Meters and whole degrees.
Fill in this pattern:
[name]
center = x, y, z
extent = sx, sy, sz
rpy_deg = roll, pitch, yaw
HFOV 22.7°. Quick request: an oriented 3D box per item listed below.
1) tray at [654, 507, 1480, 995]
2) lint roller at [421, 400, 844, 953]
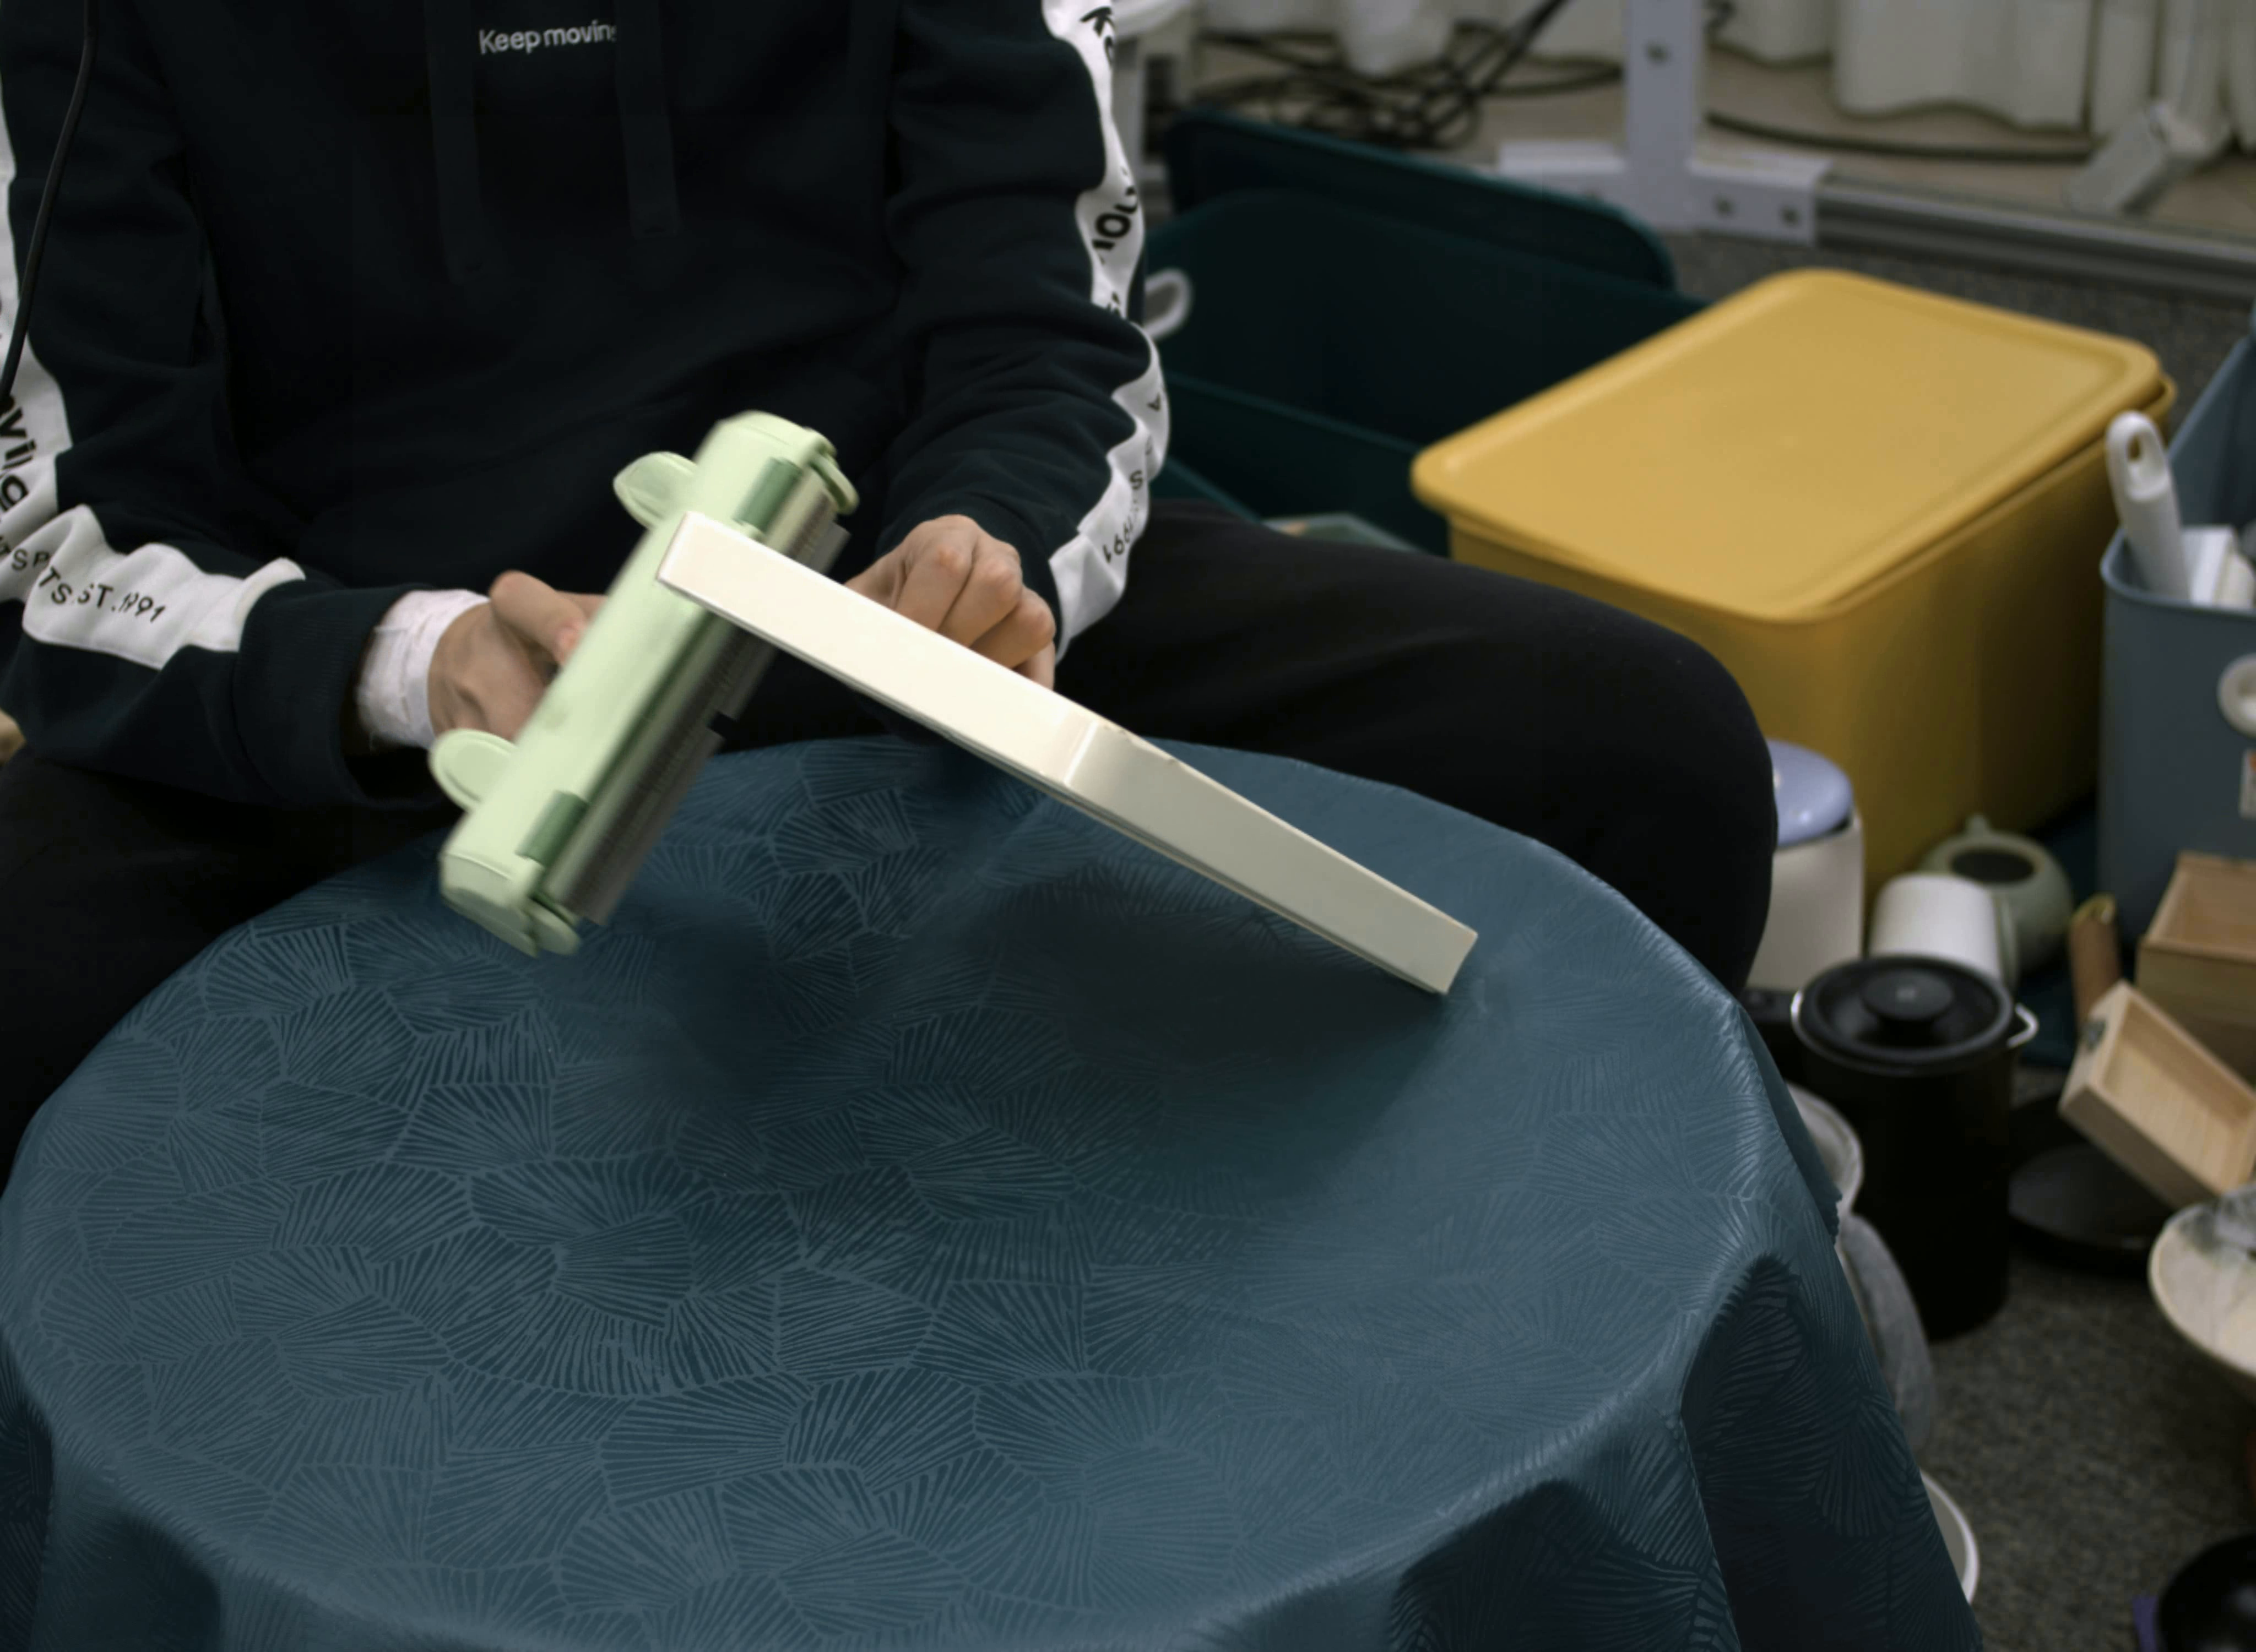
[tray]
center = -0.016, -0.021, 1.889
extent = 0.191, 0.027, 0.299
rpy_deg = 26, -2, 31
[lint roller]
center = -0.191, -0.053, 1.924
extent = 0.201, 0.082, 0.182
rpy_deg = -59, 21, -16
